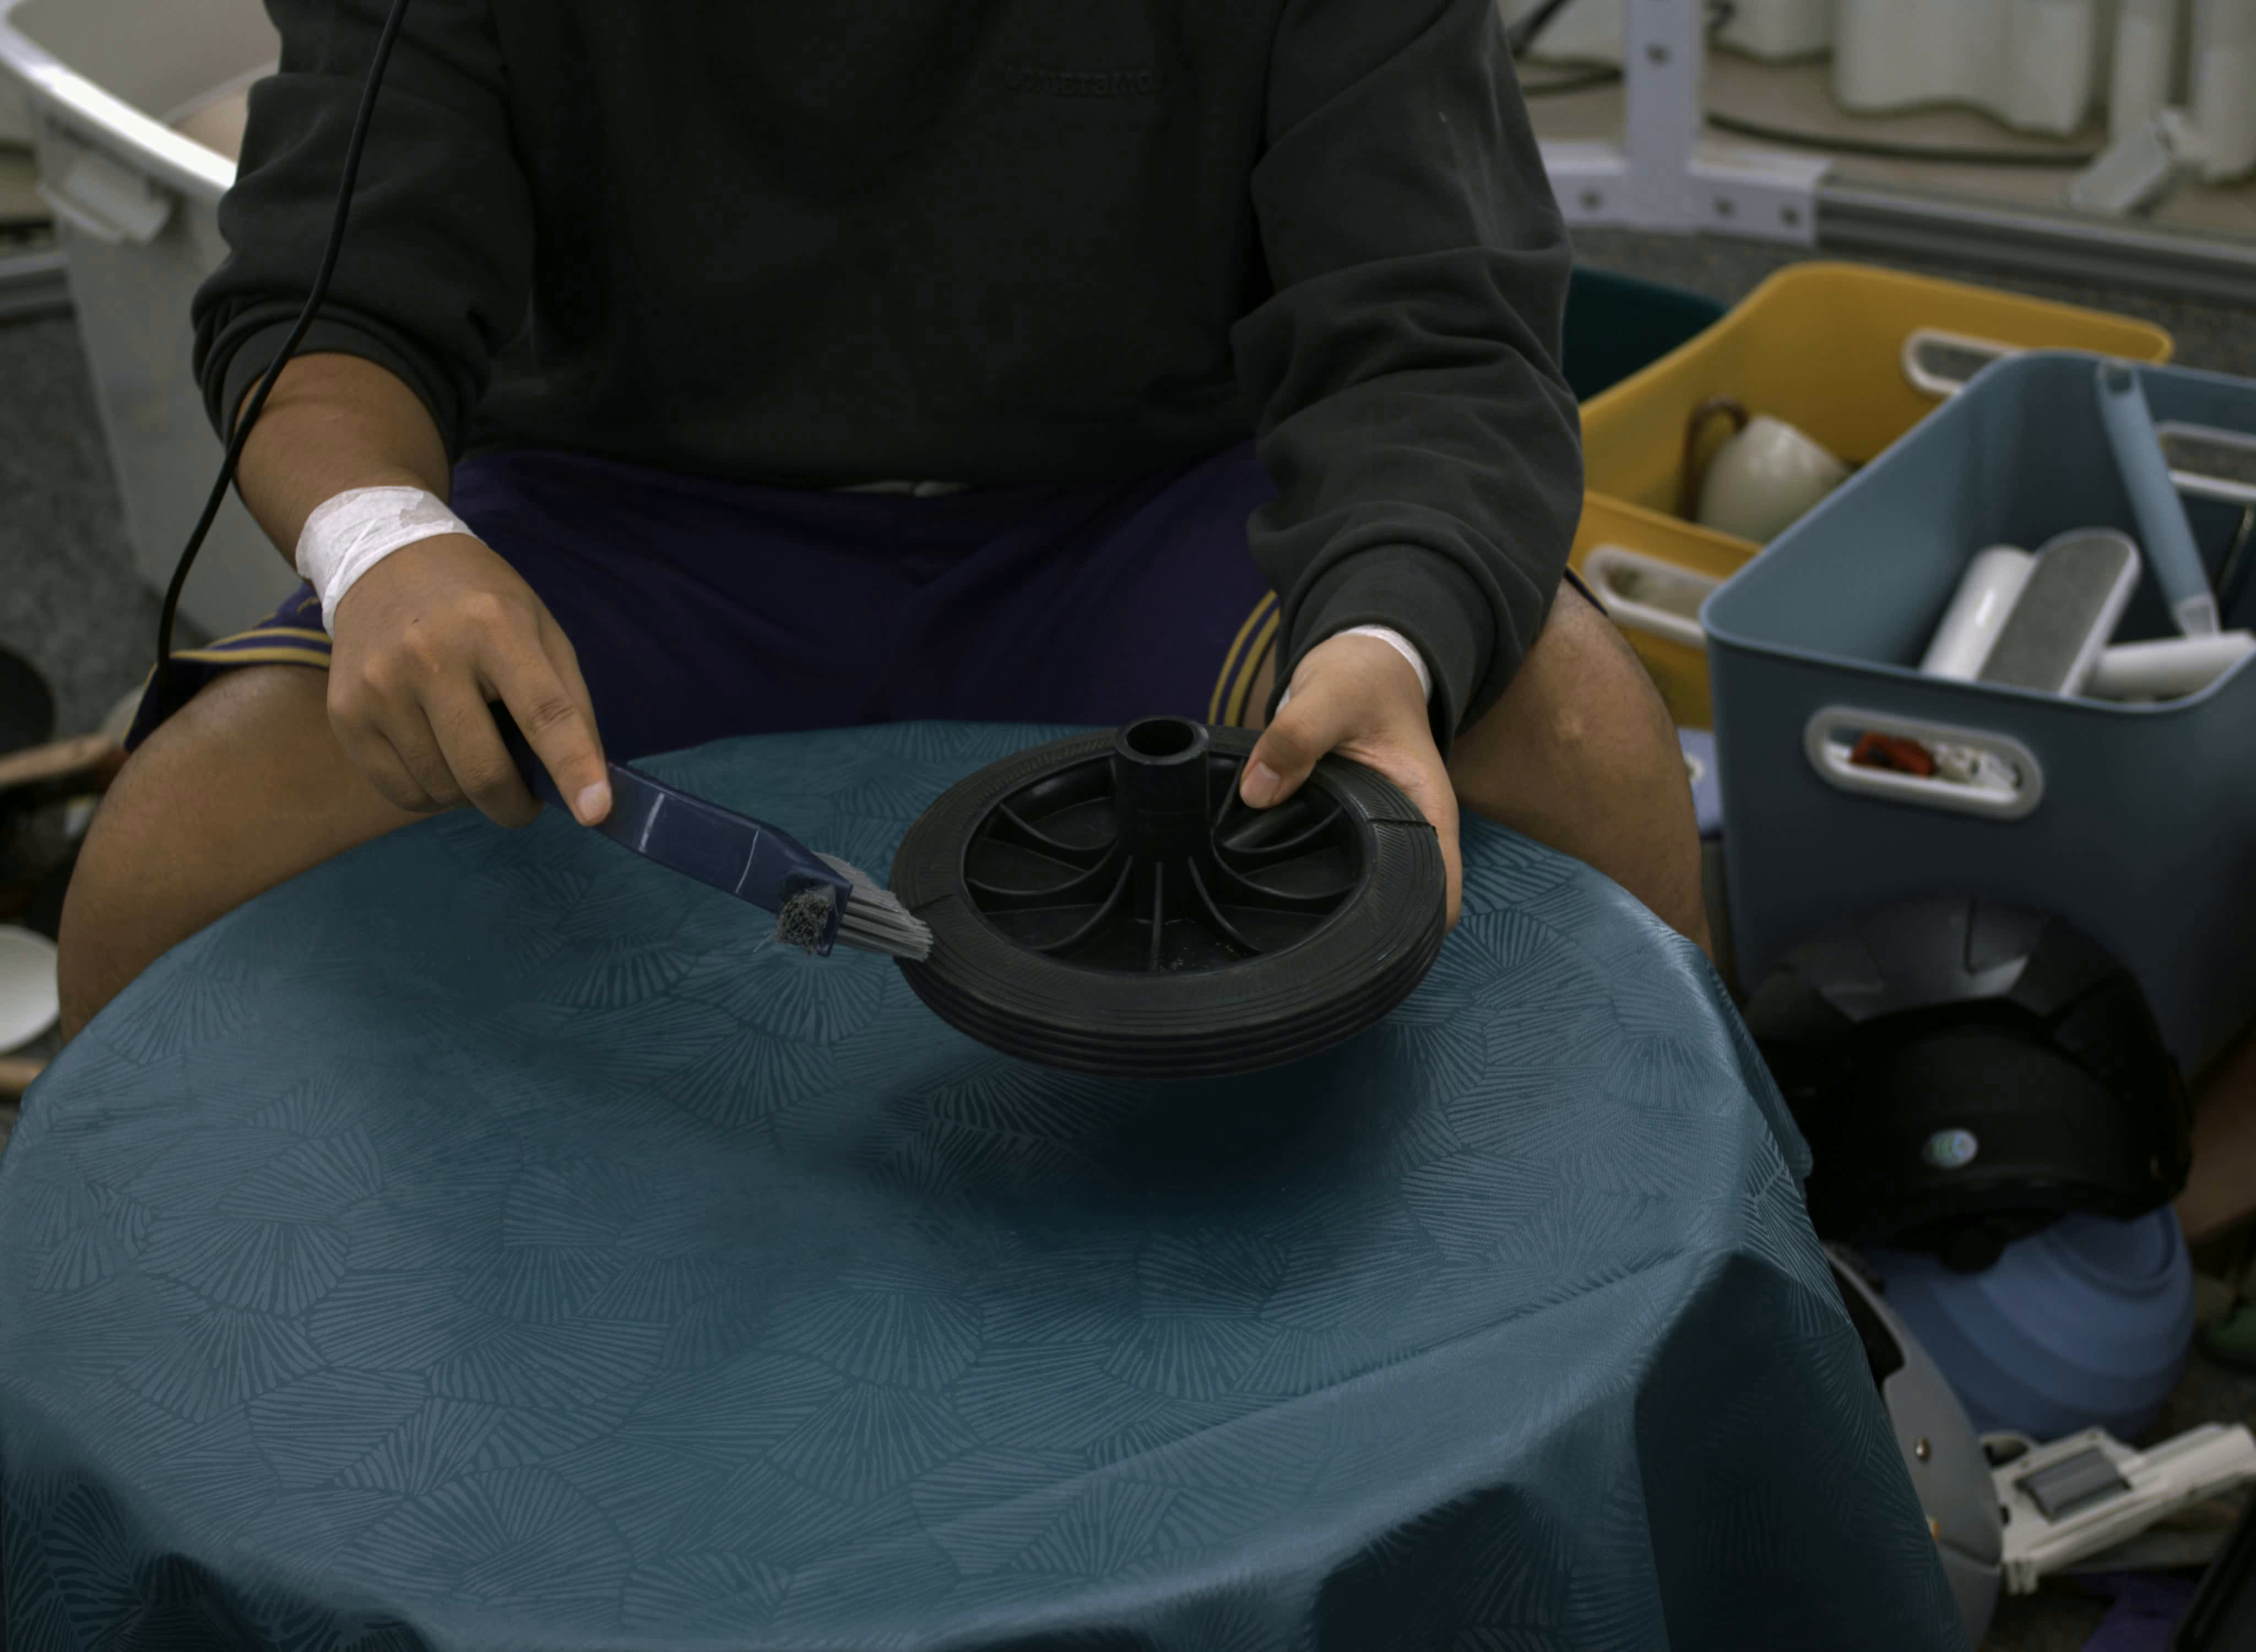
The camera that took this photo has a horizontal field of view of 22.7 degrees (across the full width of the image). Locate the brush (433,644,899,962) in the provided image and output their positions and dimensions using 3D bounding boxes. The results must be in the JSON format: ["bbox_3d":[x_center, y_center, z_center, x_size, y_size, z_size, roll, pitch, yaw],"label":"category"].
[{"bbox_3d":[-0.173,-0.008,1.899,0.096,0.033,0.273,8,13,-47],"label":"brush"}]

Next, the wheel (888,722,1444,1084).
[{"bbox_3d":[0.012,0.007,1.872,0.186,0.078,0.193,10,33,18],"label":"wheel"}]
